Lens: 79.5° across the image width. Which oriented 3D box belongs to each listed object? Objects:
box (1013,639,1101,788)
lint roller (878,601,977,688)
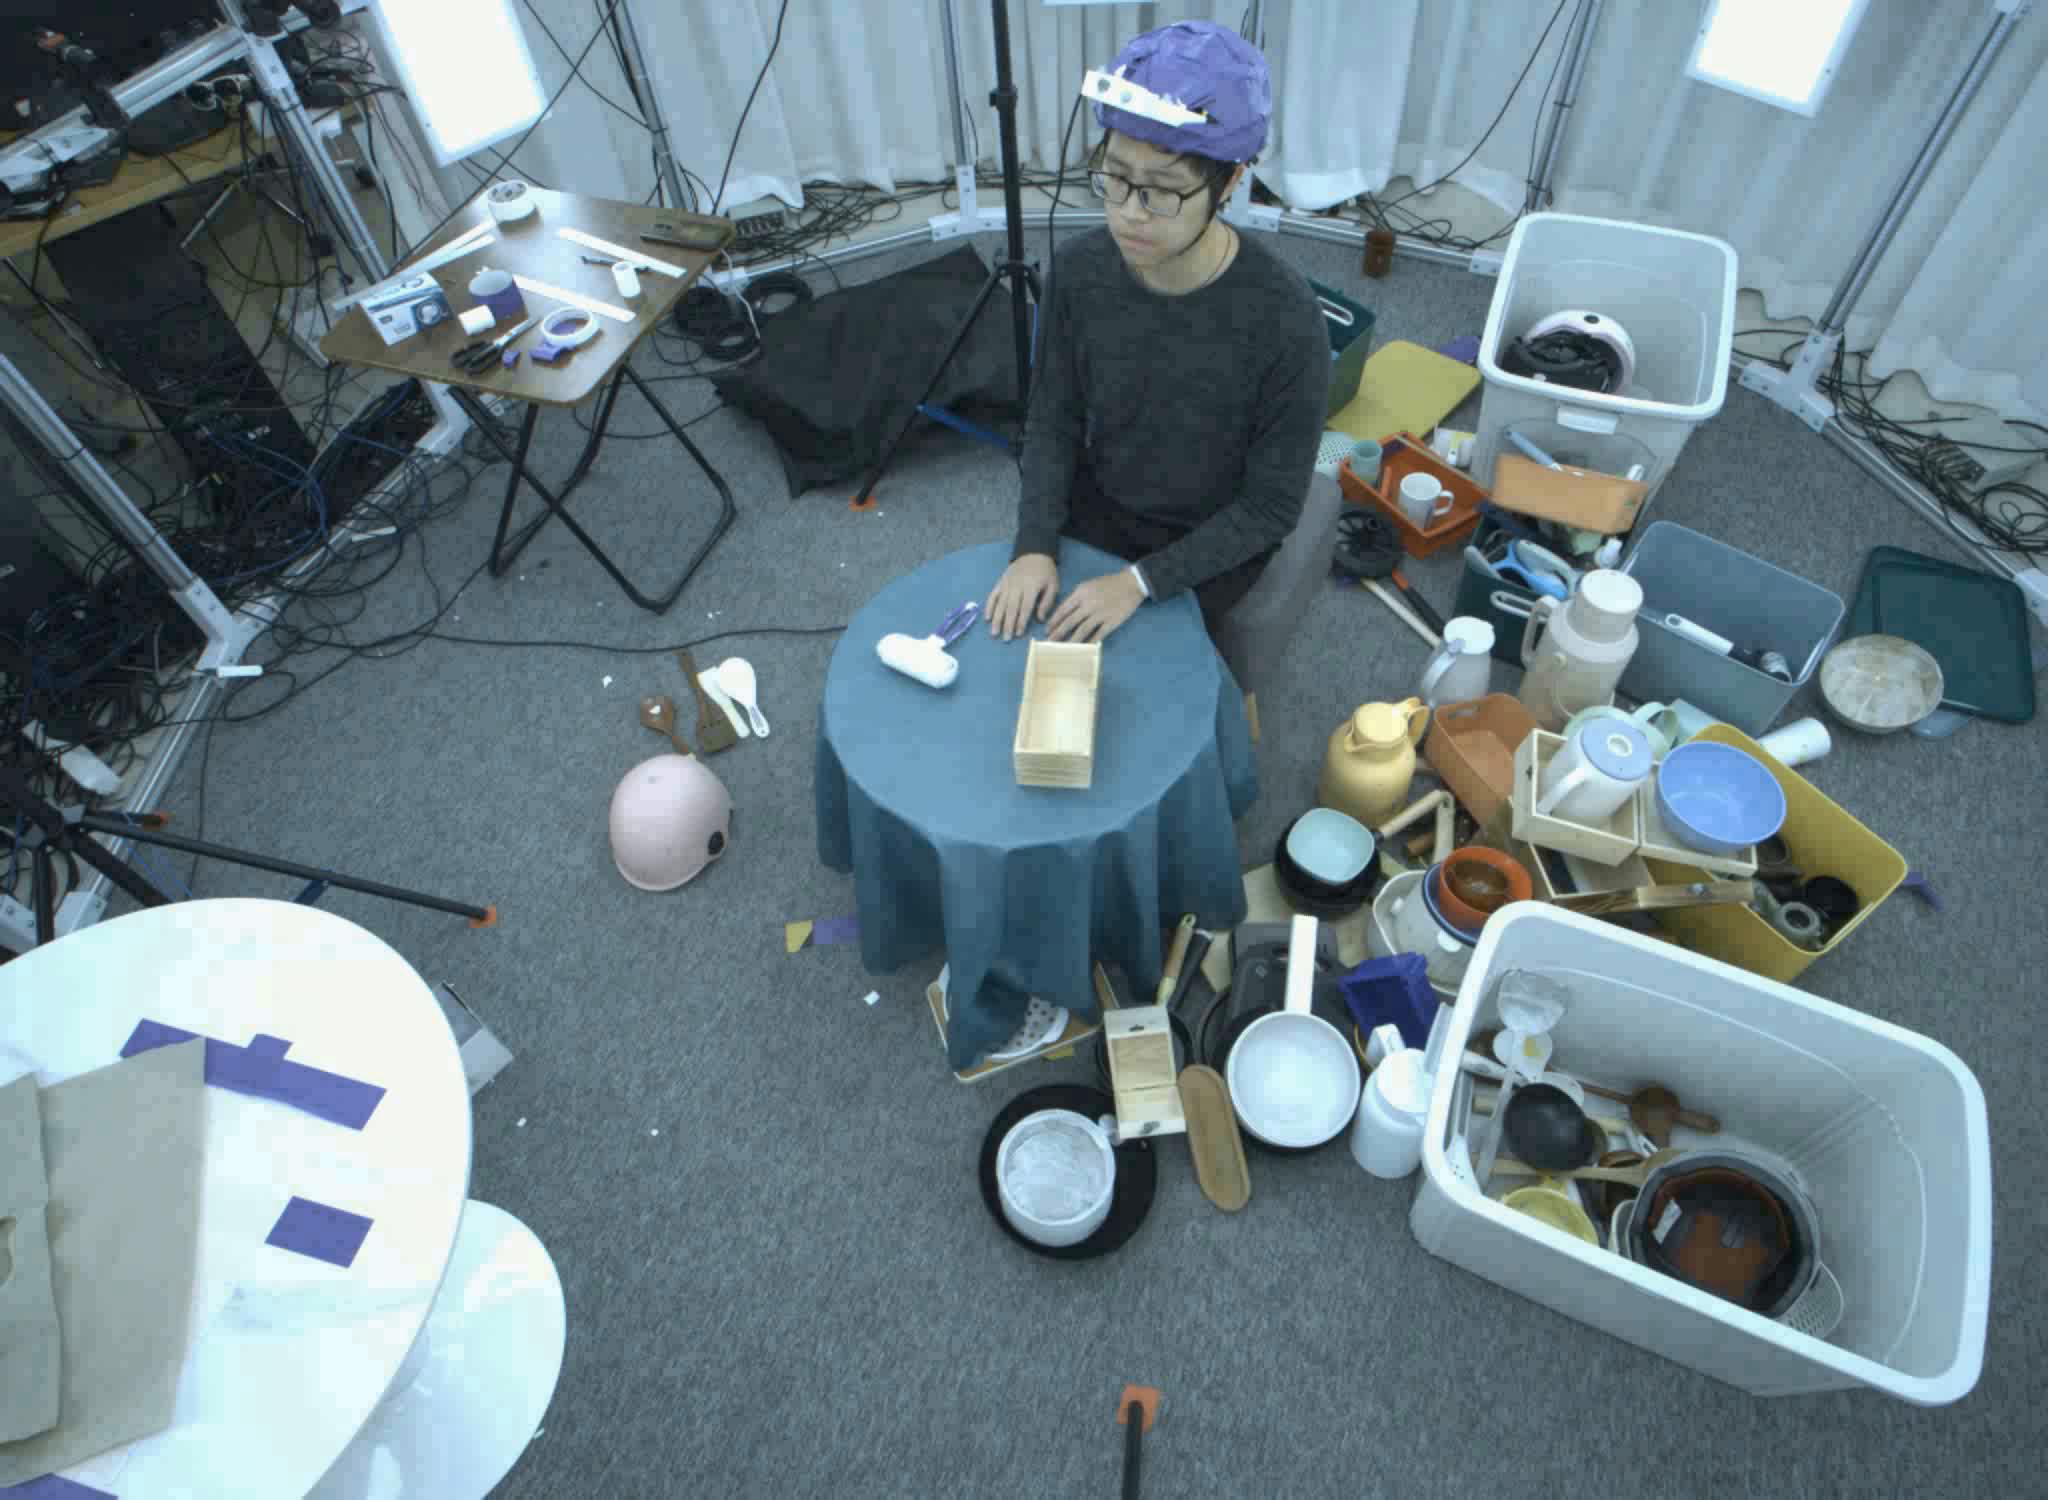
[{"bbox_3d":[0.051,-0.055,1.776,0.107,0.081,0.209,3,54,5],"label":"box"},{"bbox_3d":[-0.127,-0.180,1.890,0.131,0.051,0.181,27,62,21],"label":"lint roller"}]
